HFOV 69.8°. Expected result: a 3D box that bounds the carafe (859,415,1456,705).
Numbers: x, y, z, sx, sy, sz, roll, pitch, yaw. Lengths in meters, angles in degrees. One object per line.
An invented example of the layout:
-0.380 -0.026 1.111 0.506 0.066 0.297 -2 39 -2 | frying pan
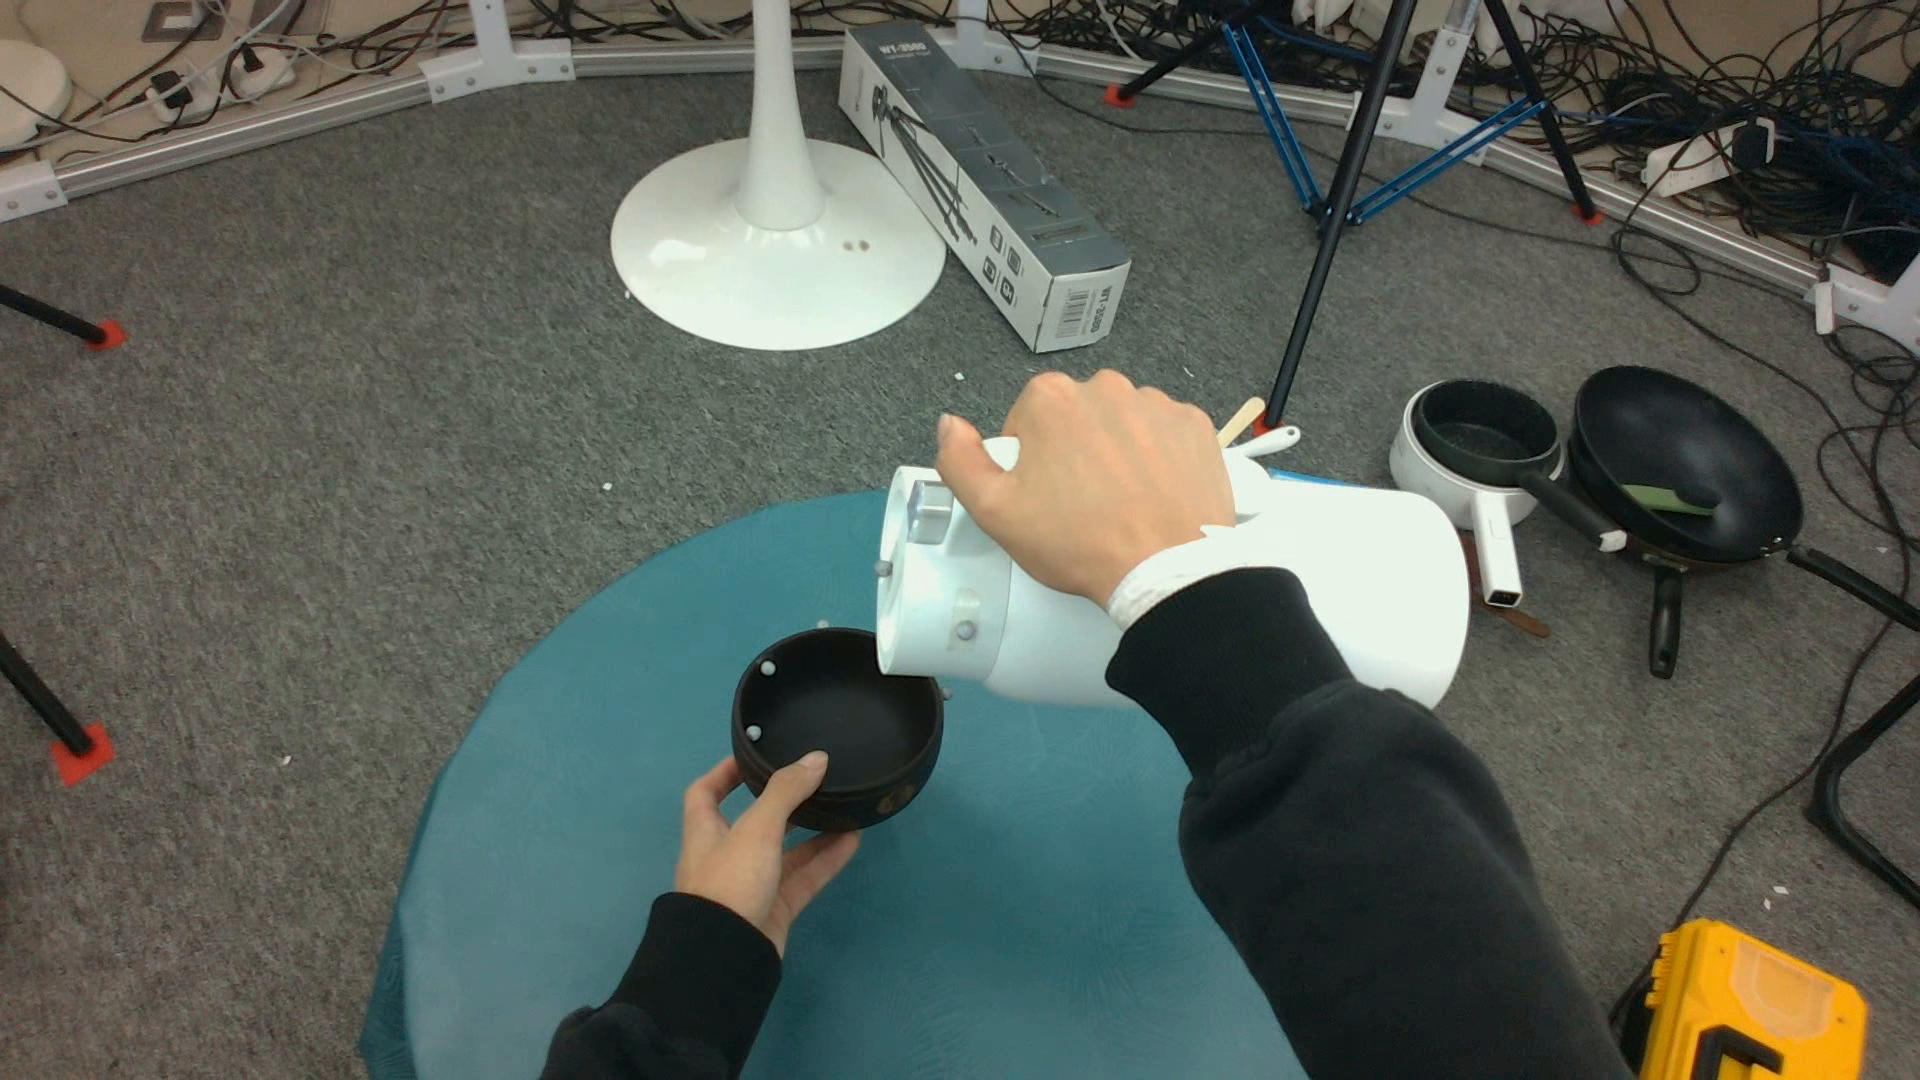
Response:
0.095 0.006 0.649 0.269 0.172 0.124 6 59 -10 | carafe

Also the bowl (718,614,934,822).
-0.076 0.106 0.770 0.118 0.069 0.118 5 46 -5 | bowl
